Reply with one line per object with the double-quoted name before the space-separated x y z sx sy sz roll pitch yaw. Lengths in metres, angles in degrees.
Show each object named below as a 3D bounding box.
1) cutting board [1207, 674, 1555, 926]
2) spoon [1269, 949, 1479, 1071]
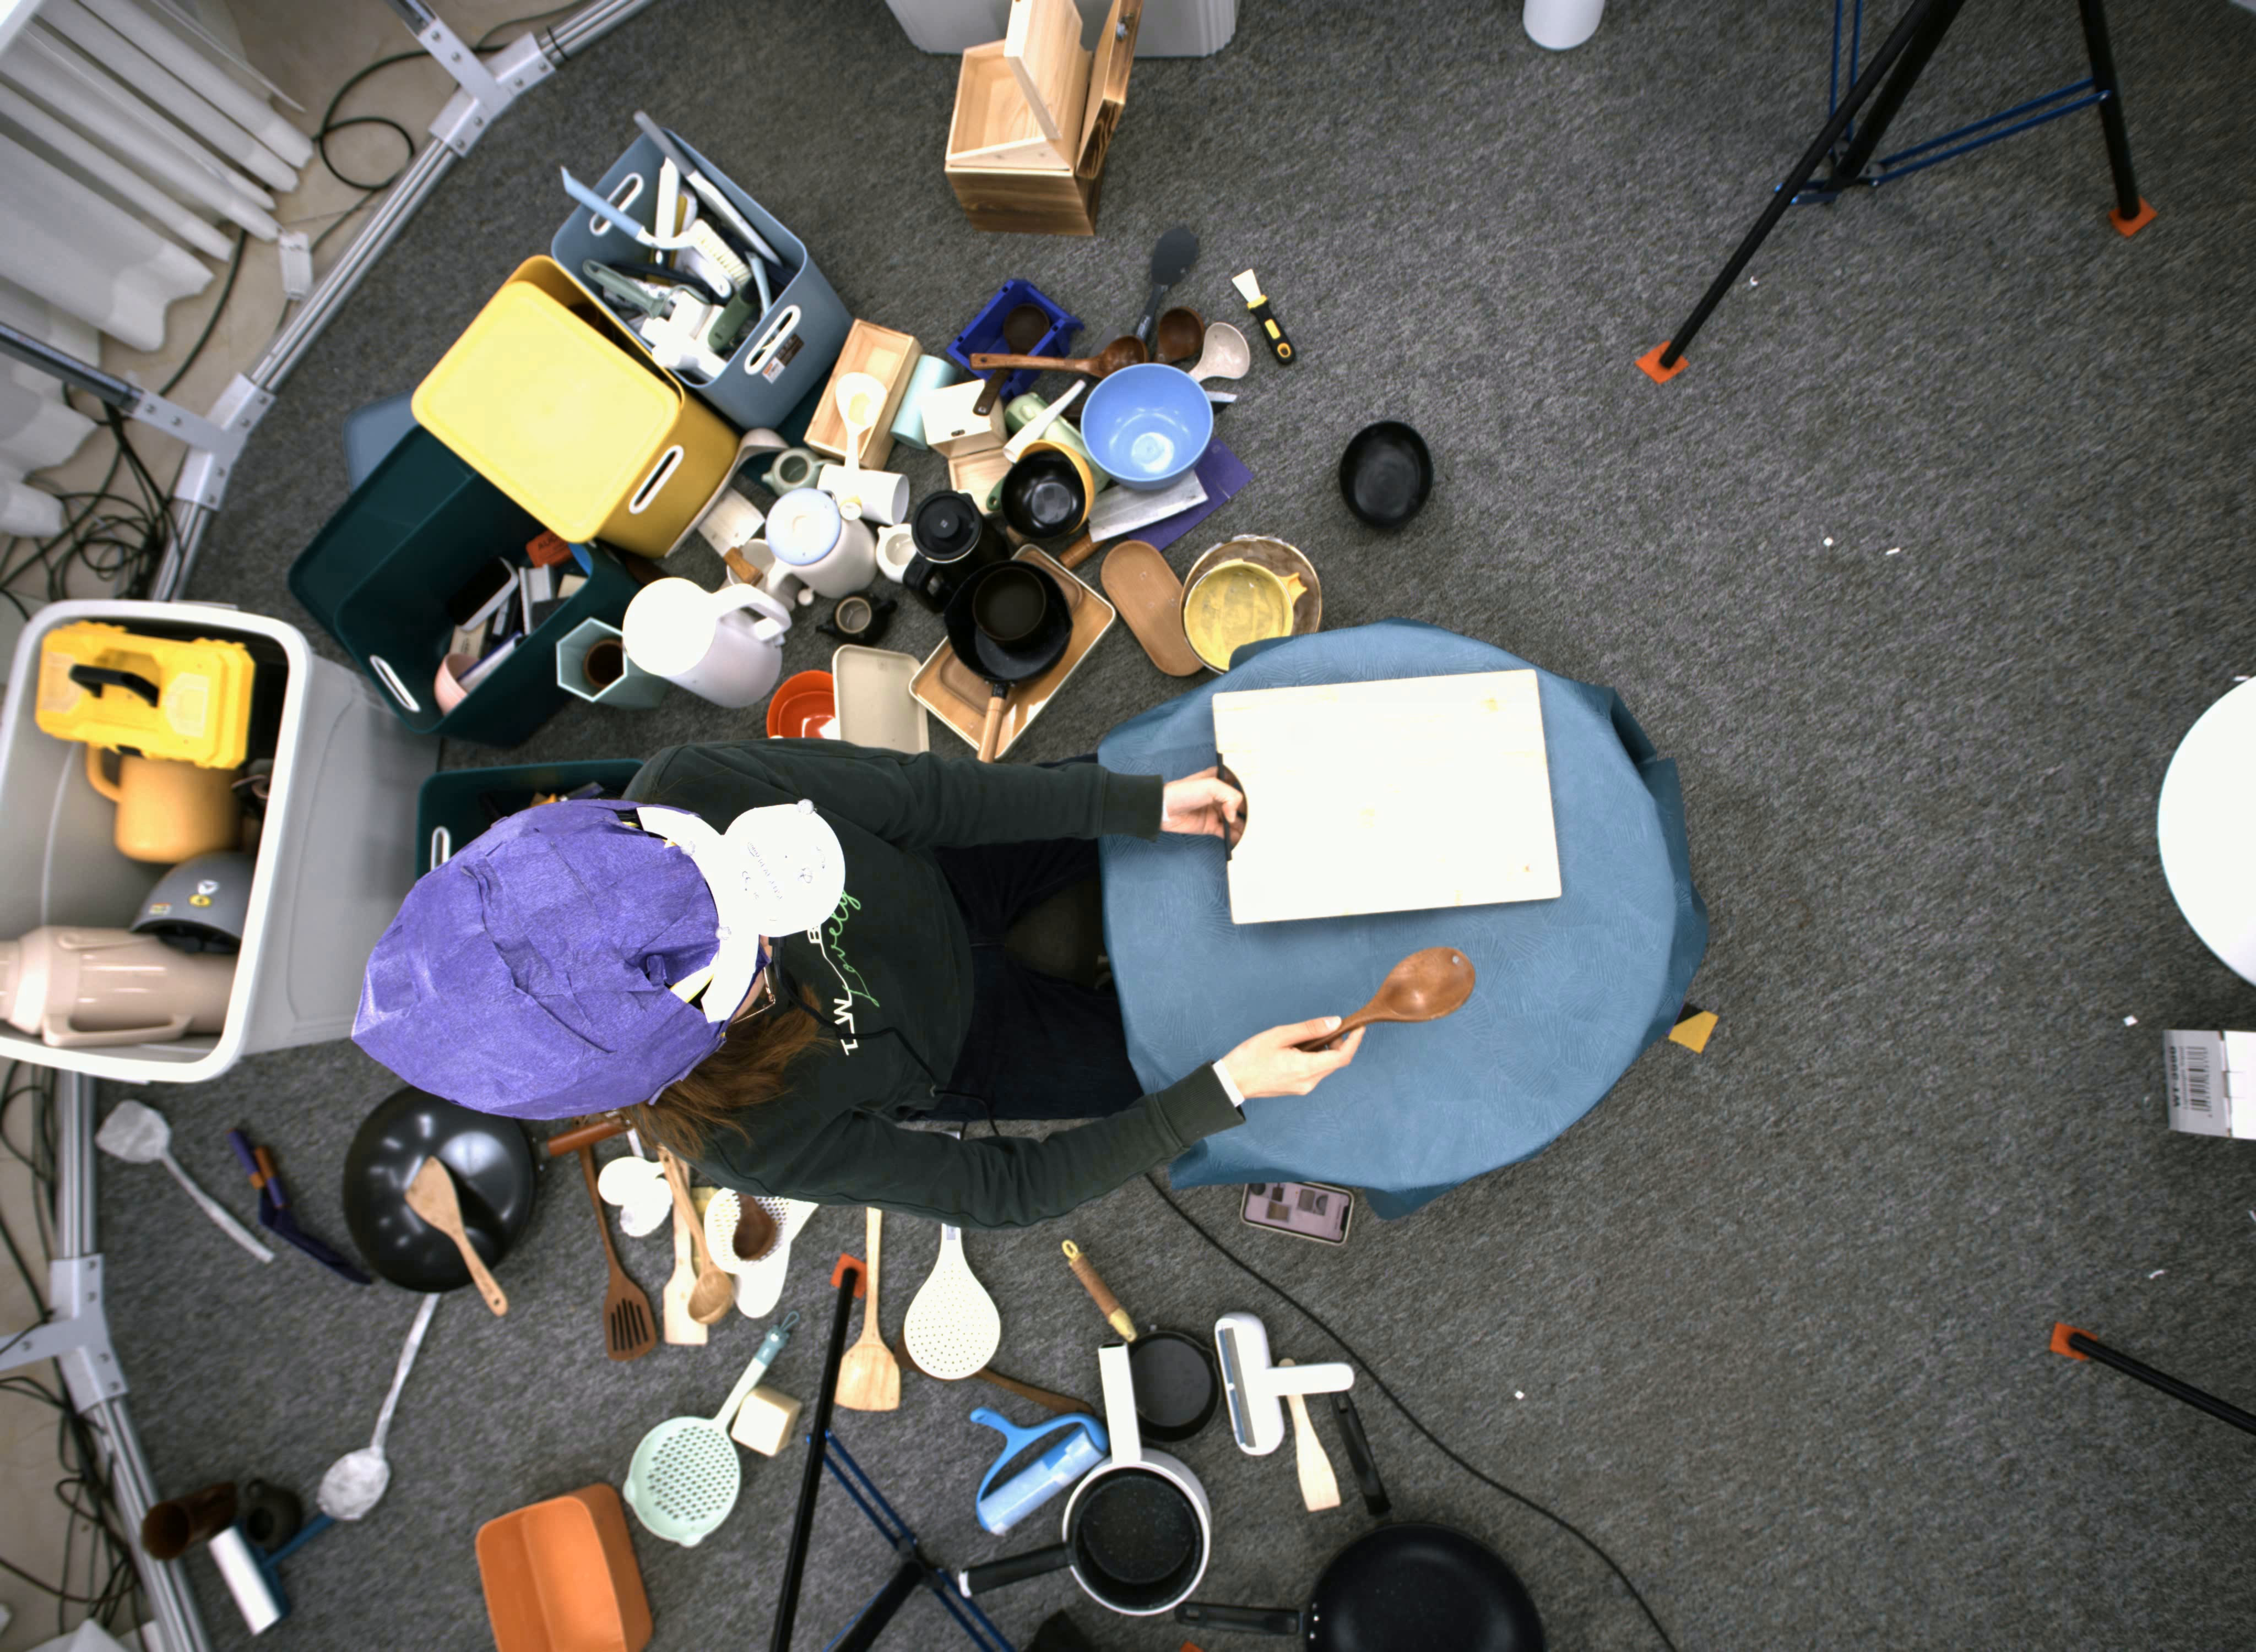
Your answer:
"cutting board" 0.264 -0.030 1.432 0.349 0.024 0.249 -6 85 -1
"spoon" 0.233 0.180 1.320 0.217 0.017 0.074 -26 53 8
